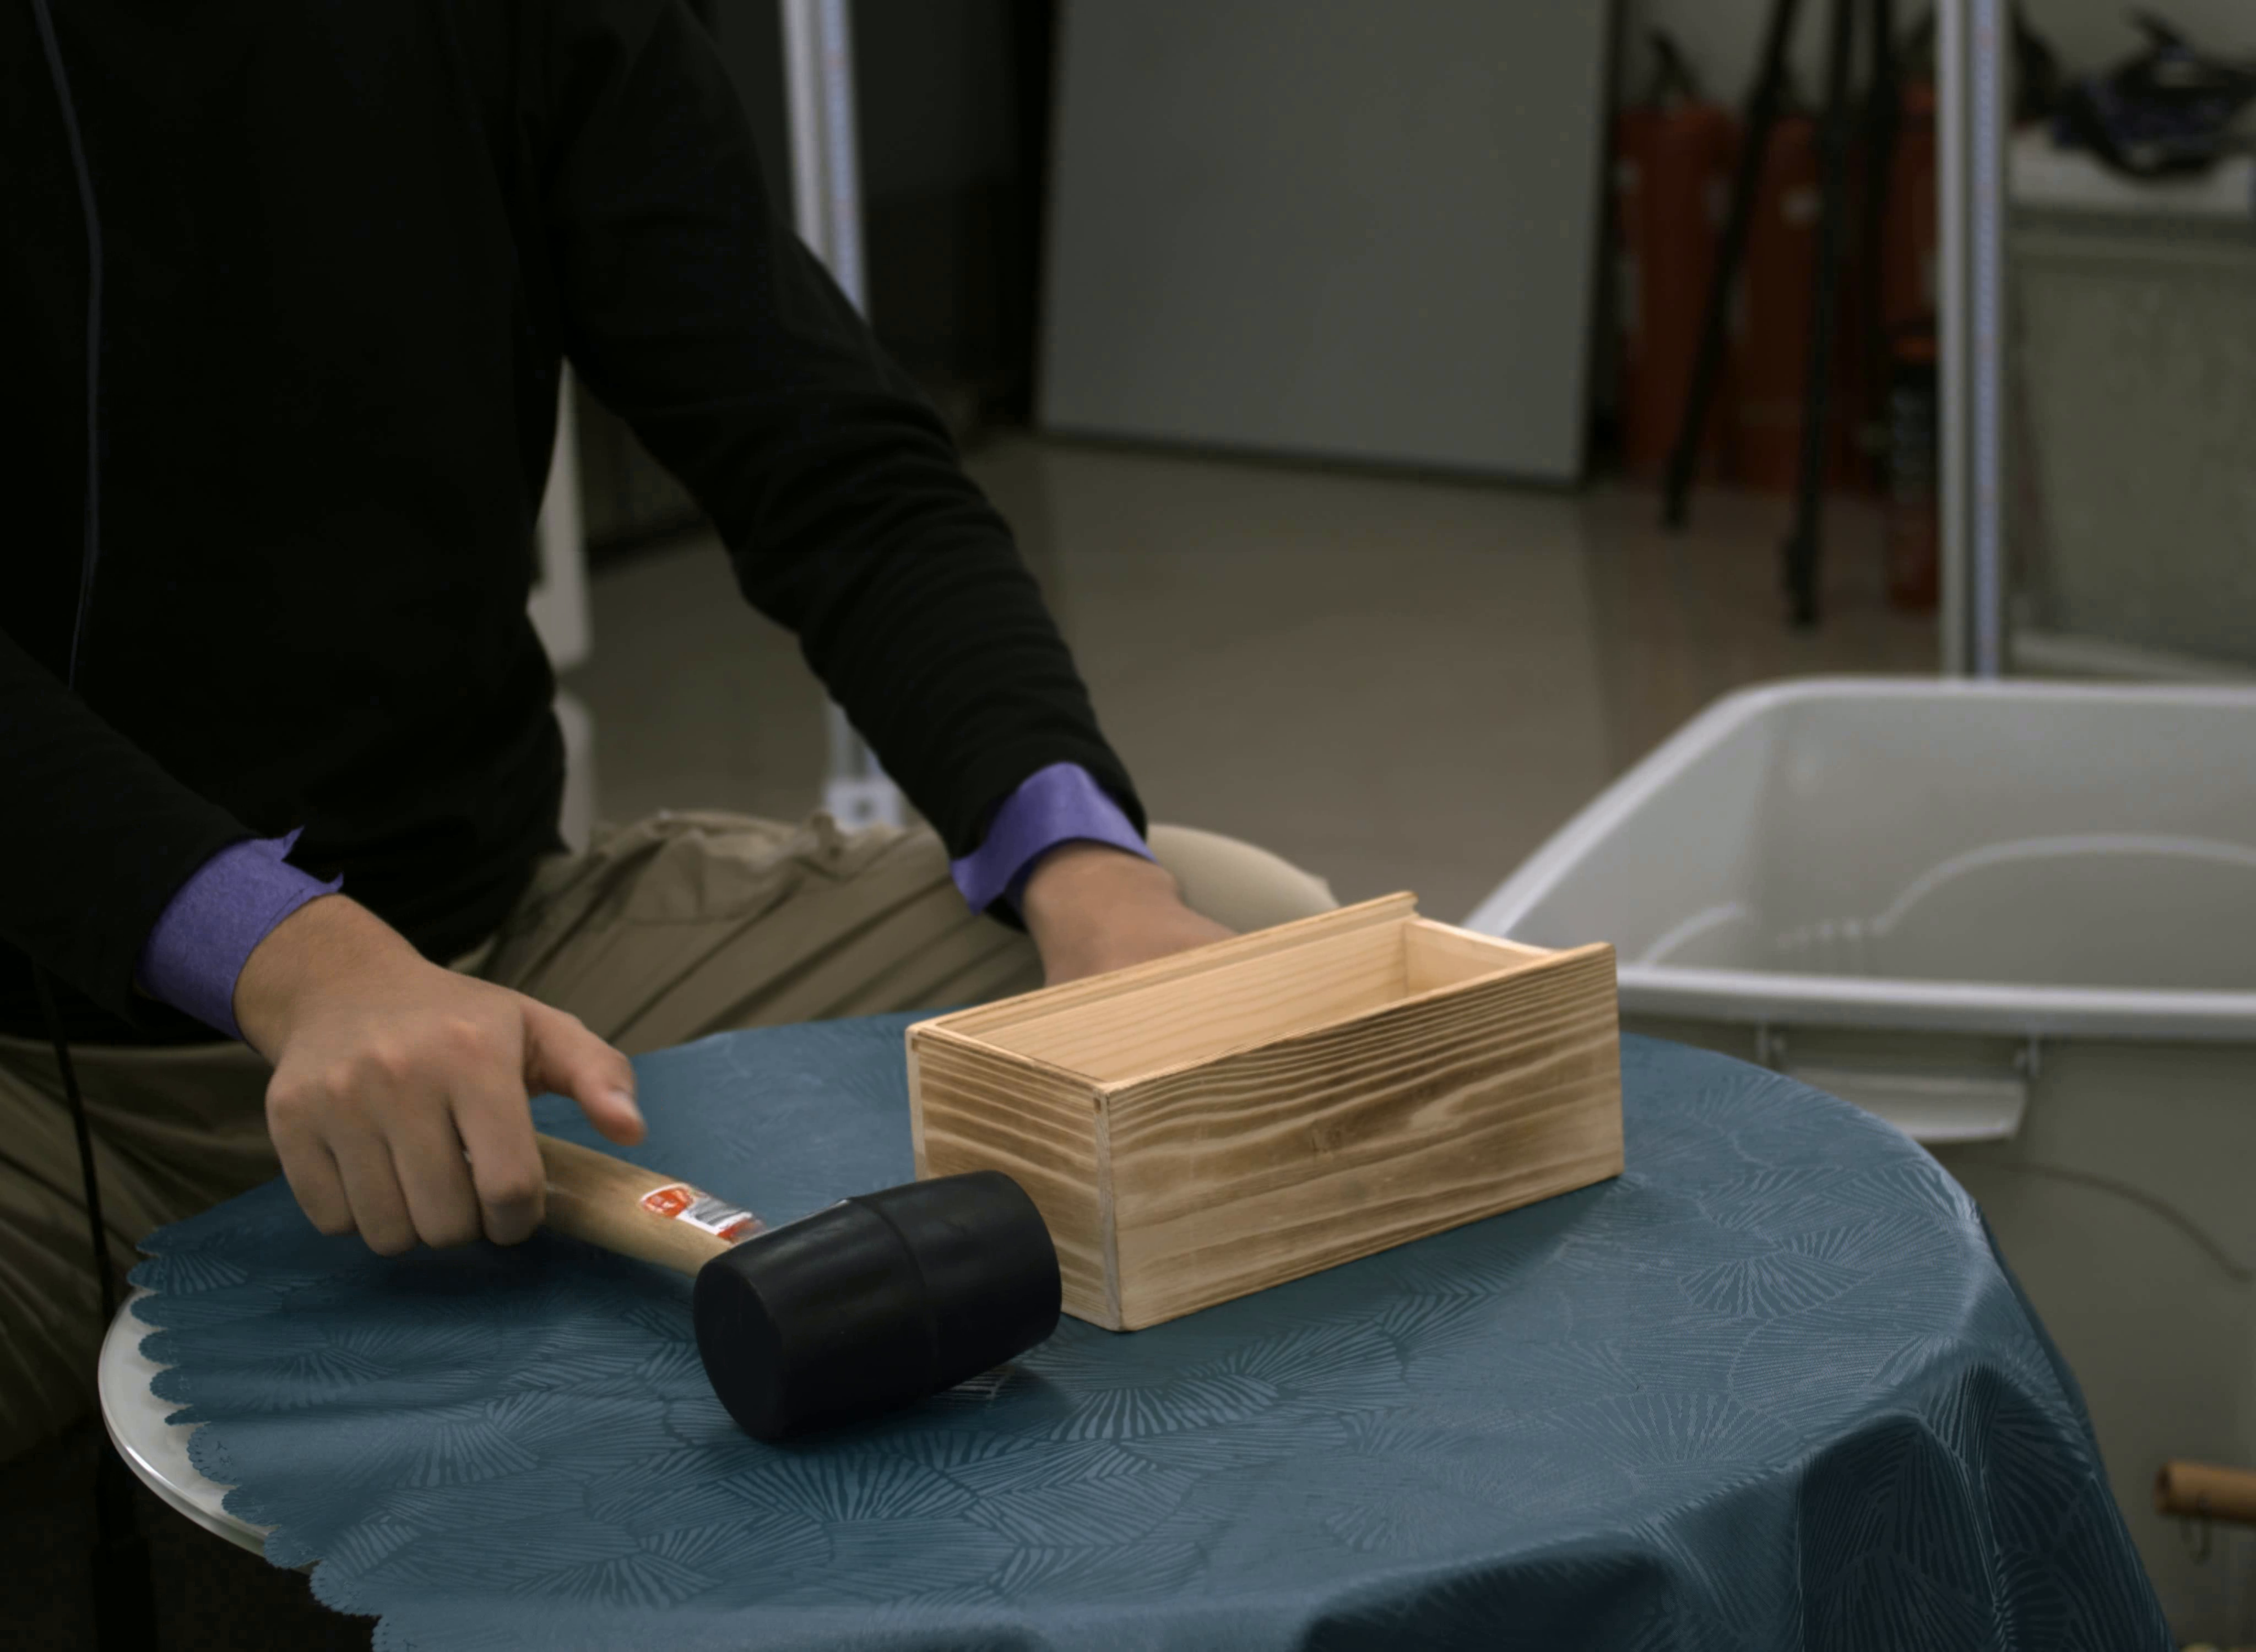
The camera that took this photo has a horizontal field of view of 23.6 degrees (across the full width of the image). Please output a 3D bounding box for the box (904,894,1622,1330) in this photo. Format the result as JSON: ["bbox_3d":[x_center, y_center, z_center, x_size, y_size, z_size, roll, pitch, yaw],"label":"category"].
[{"bbox_3d":[0.045,0.088,1.727,0.207,0.081,0.108,-14,16,-35],"label":"box"}]

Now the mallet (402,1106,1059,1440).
[{"bbox_3d":[-0.147,0.119,1.702,0.099,0.065,0.342,-12,15,-29],"label":"mallet"}]
